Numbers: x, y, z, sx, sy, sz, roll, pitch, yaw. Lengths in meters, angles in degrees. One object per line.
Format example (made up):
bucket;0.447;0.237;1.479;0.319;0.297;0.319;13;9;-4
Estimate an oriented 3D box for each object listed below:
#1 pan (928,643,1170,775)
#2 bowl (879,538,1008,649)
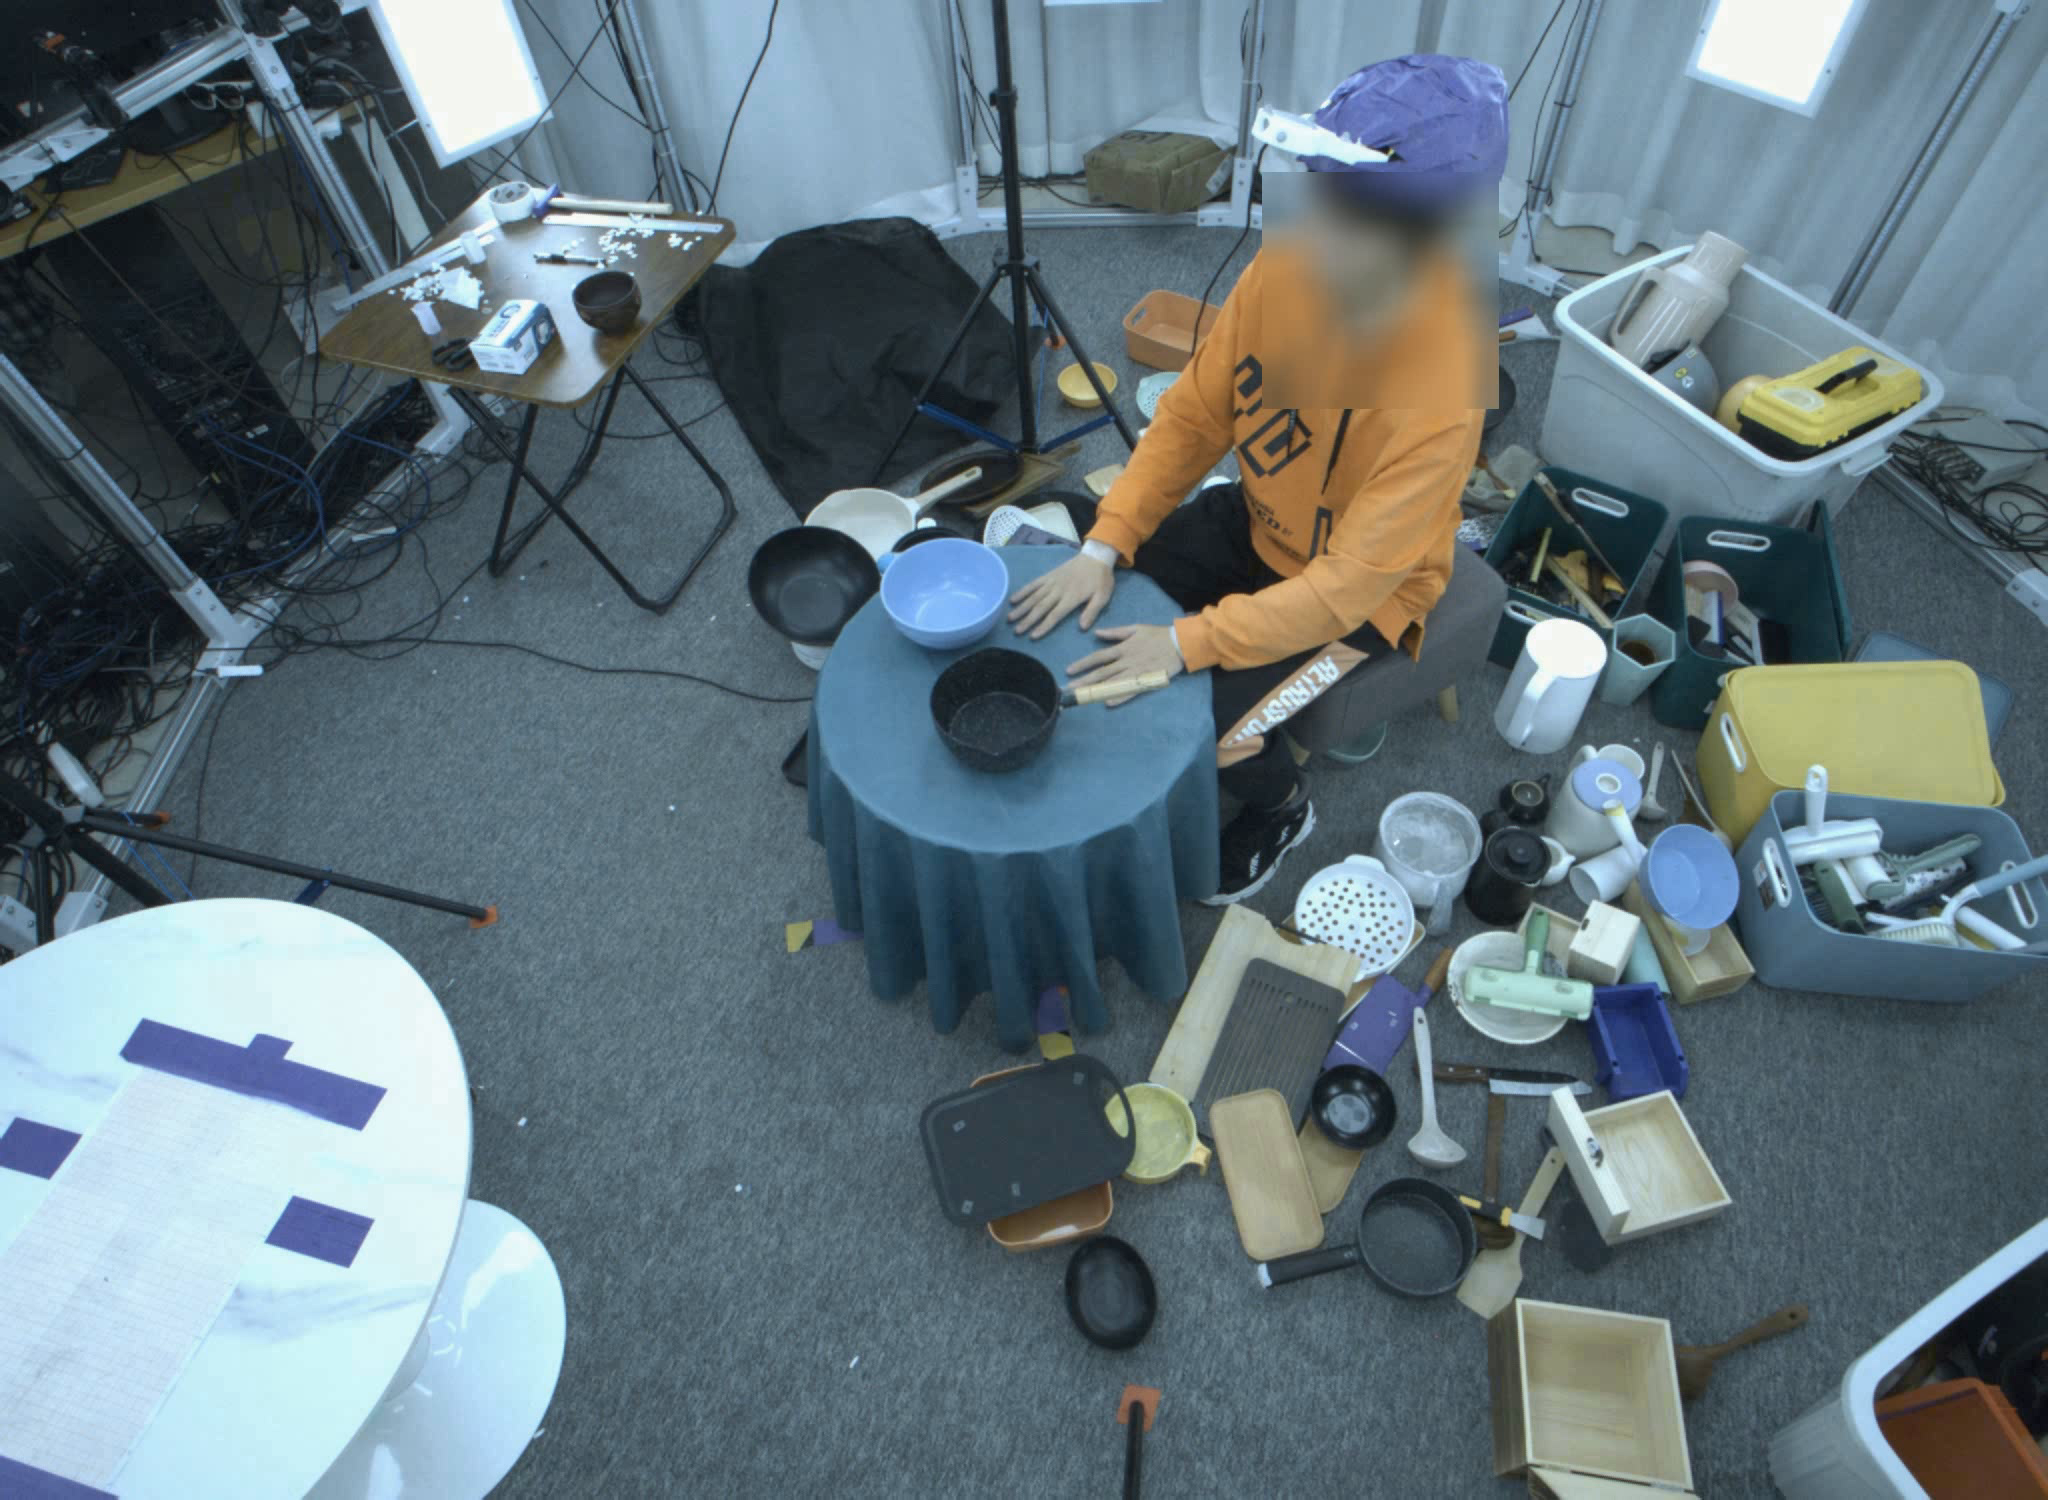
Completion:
pan;0.038;-0.064;1.764;0.343;0.109;0.205;-6;54;0
bowl;-0.119;-0.227;1.892;0.196;0.096;0.194;-1;54;3
